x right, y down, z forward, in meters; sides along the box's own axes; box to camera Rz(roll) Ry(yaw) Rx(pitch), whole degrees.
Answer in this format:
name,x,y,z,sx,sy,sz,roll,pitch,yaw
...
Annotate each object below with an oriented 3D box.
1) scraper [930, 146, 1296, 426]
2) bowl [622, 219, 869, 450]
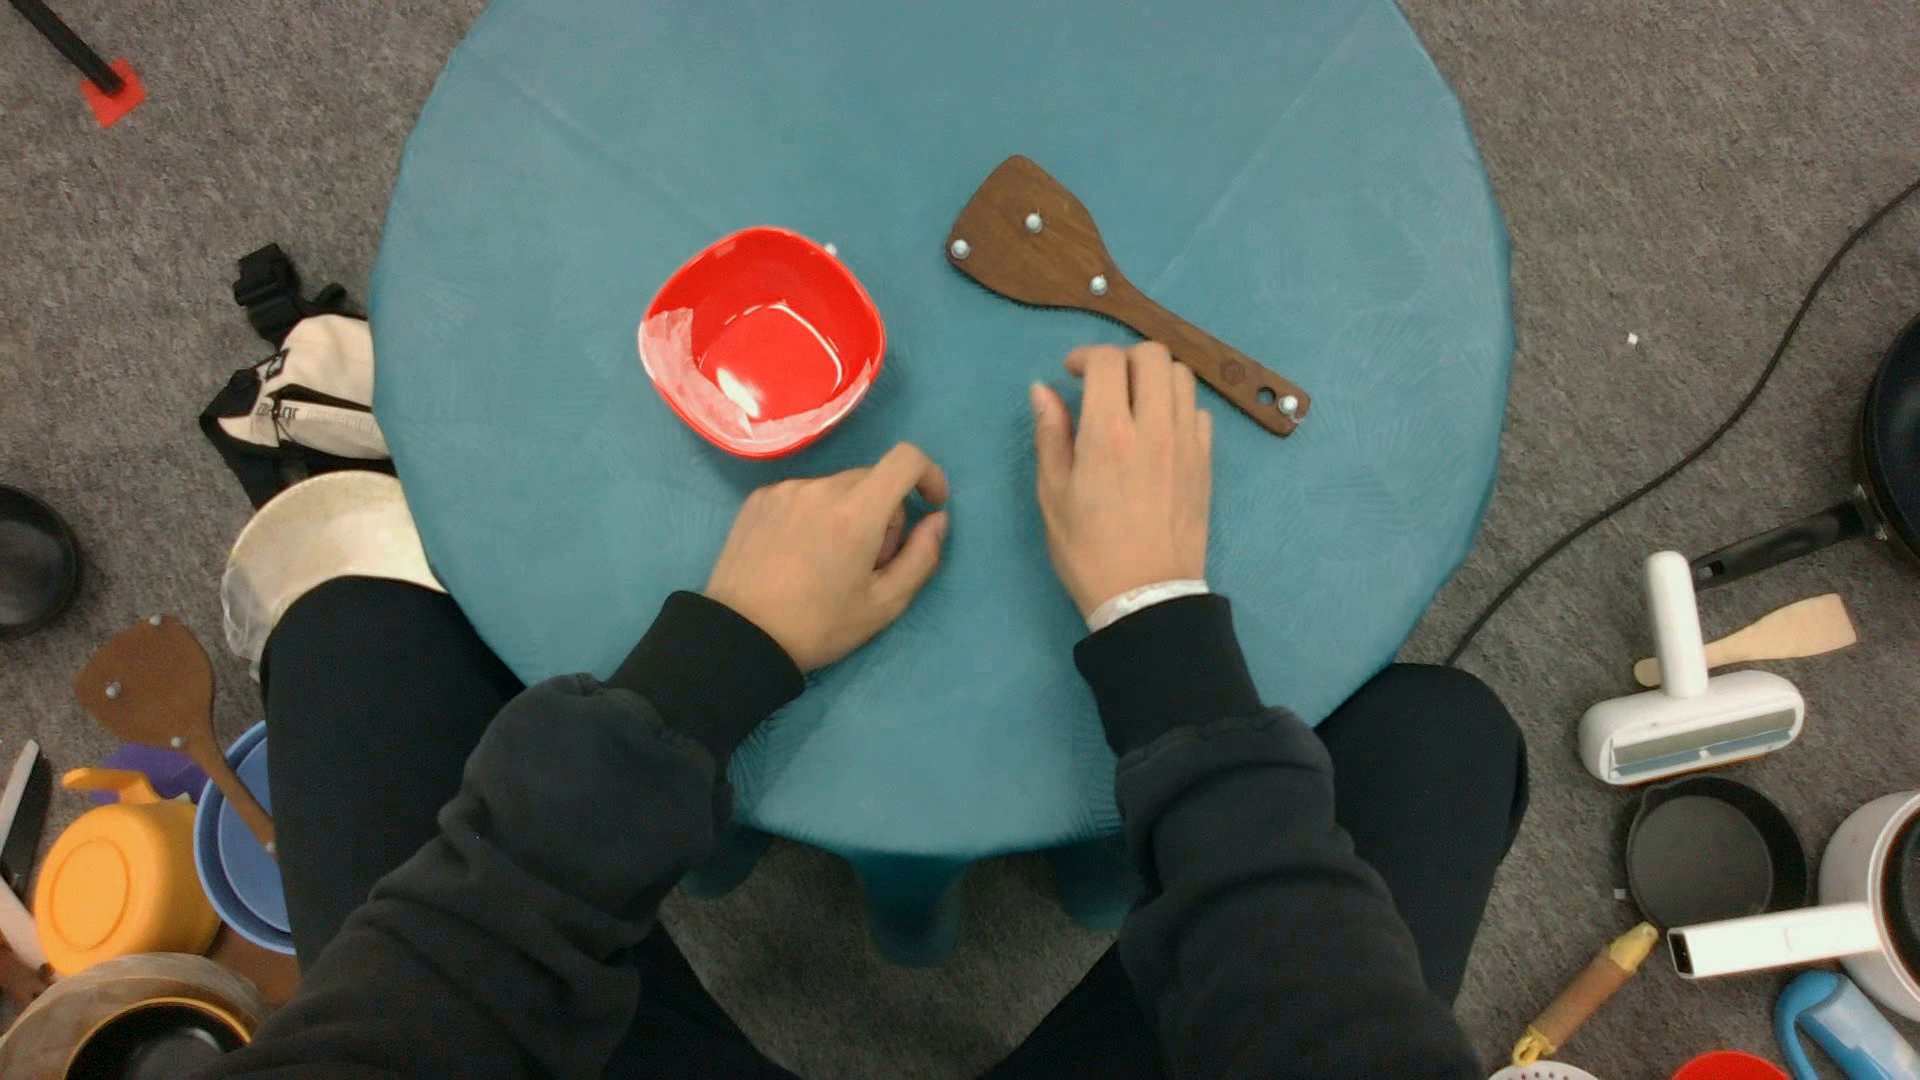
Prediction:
name,x,y,z,sx,sy,sz,roll,pitch,yaw
scraper,0.084,-0.127,0.725,0.211,0.011,0.076,35,78,6
bowl,-0.104,-0.096,0.690,0.119,0.051,0.119,1,75,-3
